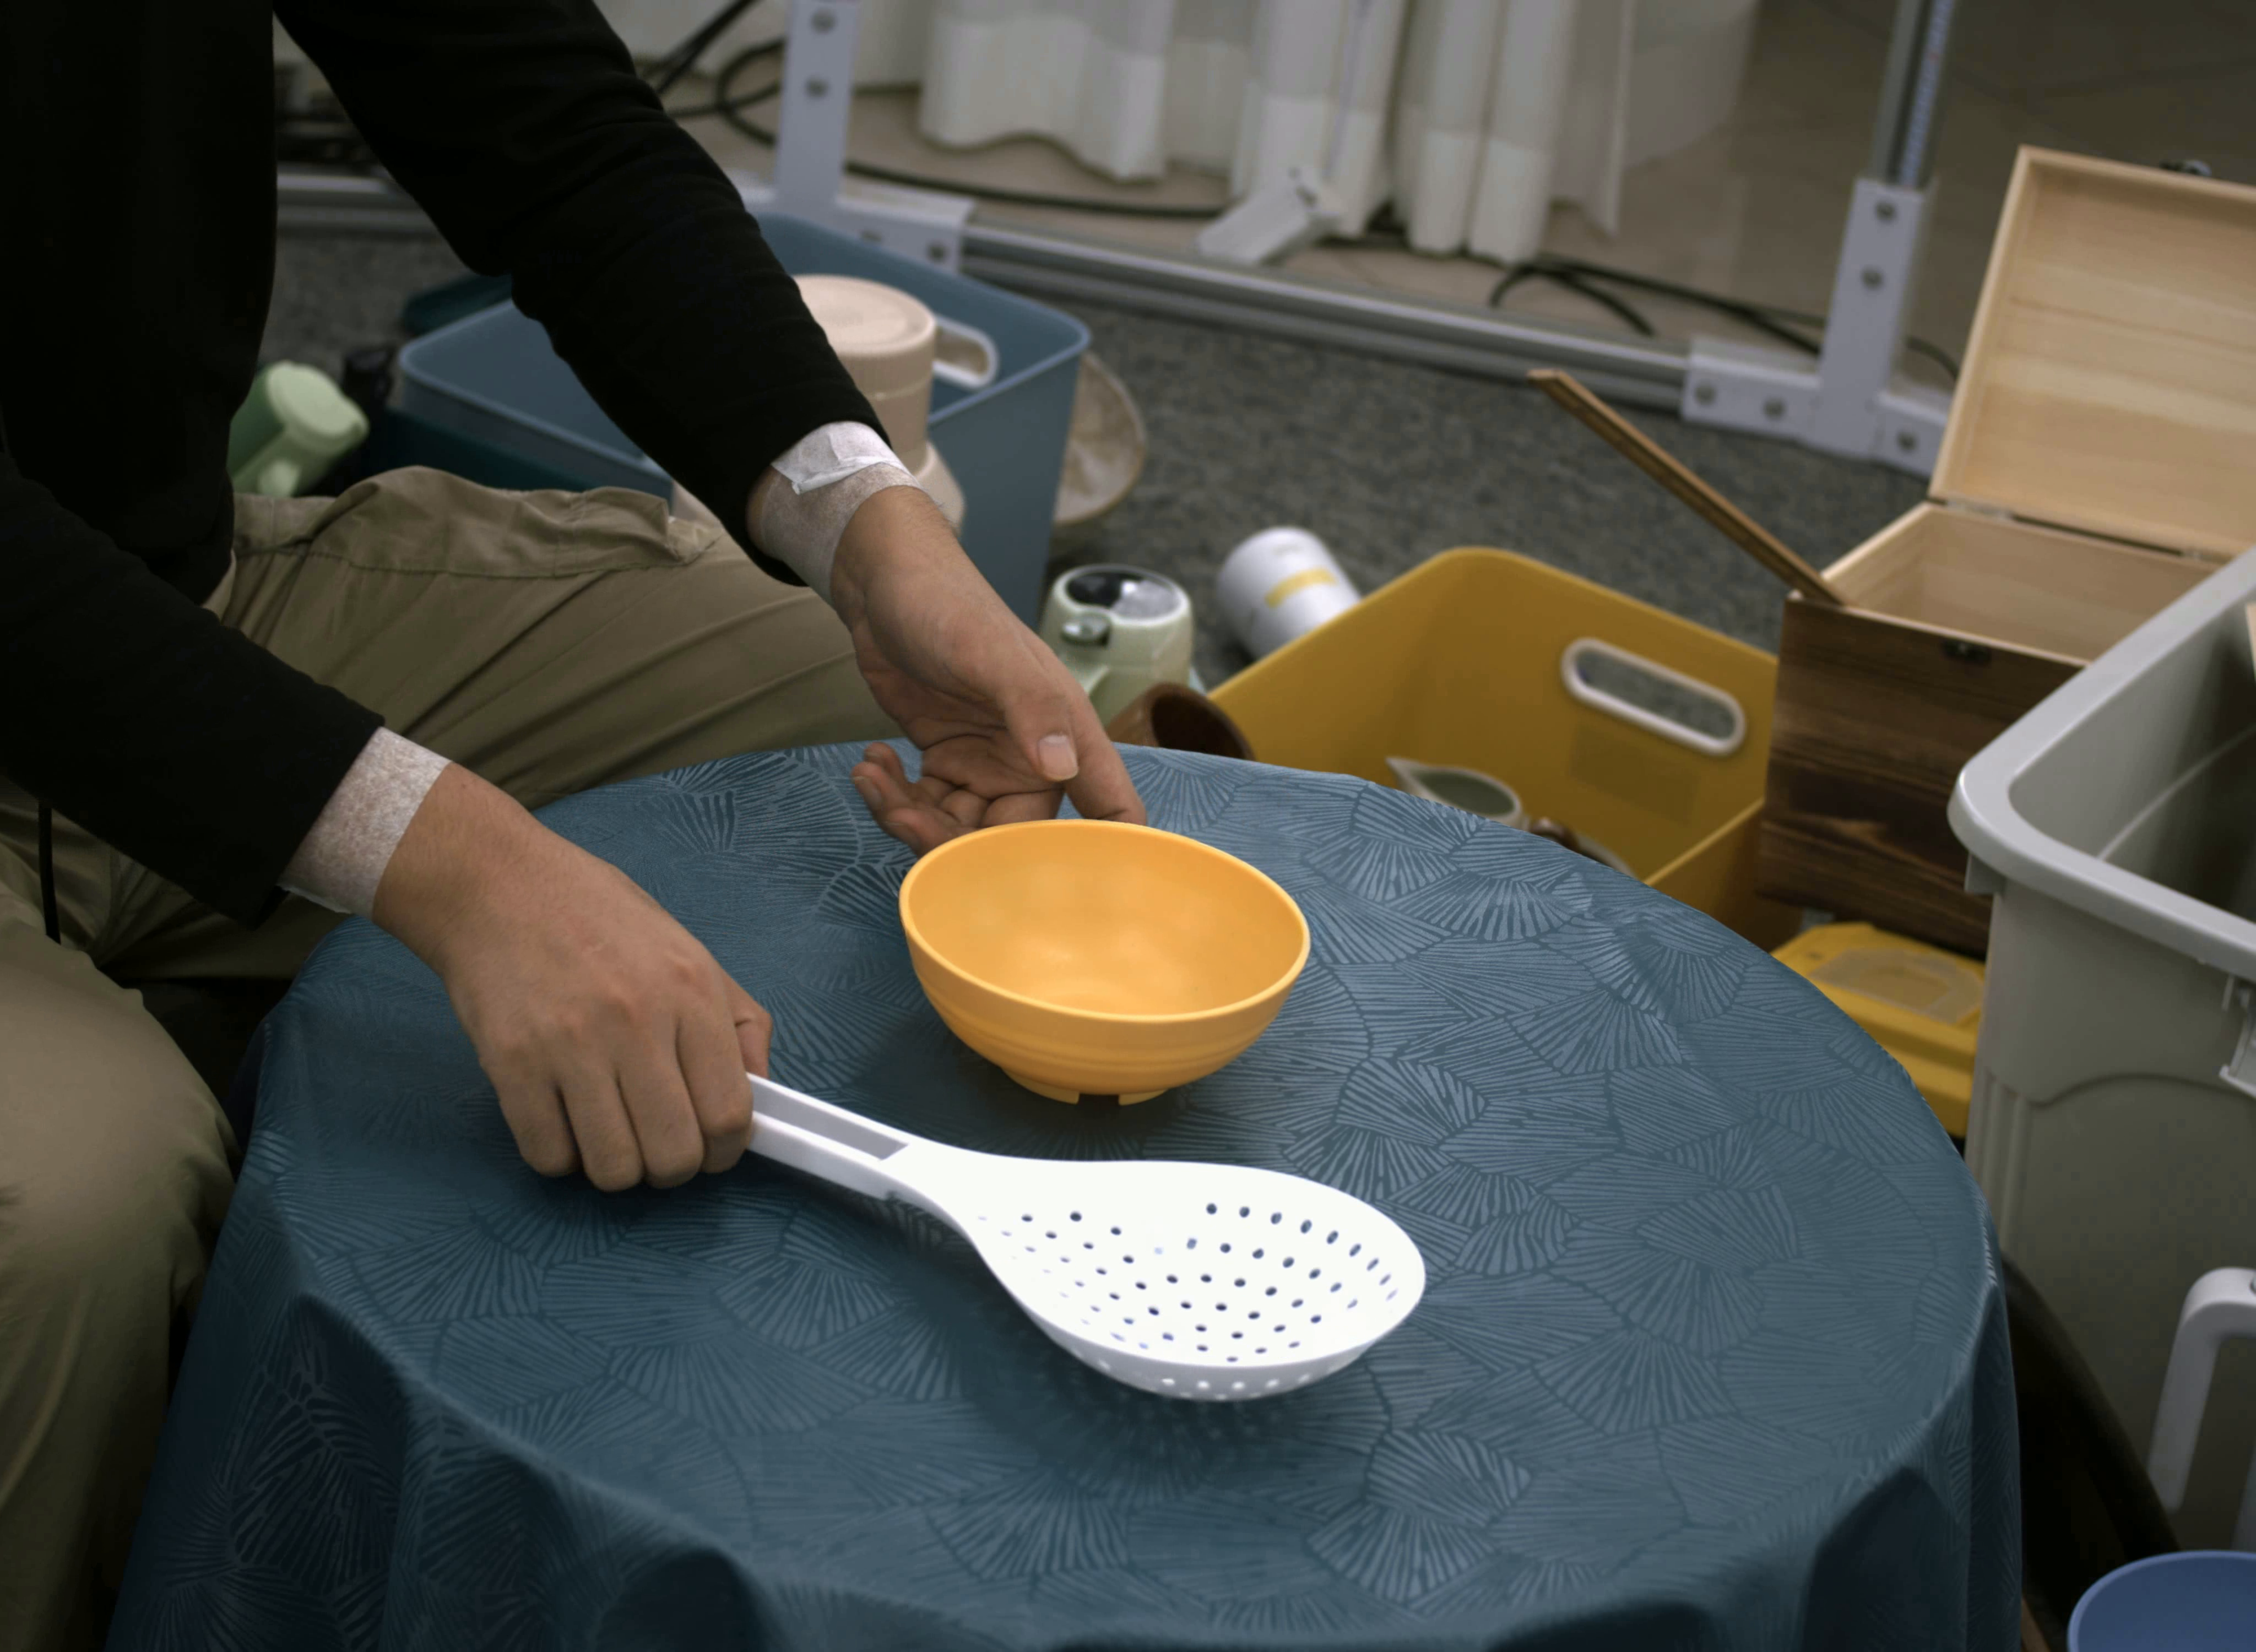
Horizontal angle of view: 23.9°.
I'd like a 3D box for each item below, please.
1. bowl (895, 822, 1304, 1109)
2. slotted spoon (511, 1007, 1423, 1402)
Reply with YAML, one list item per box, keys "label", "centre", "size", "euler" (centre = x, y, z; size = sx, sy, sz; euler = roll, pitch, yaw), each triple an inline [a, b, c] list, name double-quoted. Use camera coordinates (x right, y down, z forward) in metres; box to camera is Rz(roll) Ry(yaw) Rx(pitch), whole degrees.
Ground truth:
- label: "bowl"
  centre: [-0.014, 0.058, 1.867]
  size: [0.145, 0.060, 0.146]
  euler: [7, 26, -4]
- label: "slotted spoon"
  centre: [-0.063, 0.117, 1.748]
  size: [0.352, 0.045, 0.135]
  euler: [22, 30, 29]
